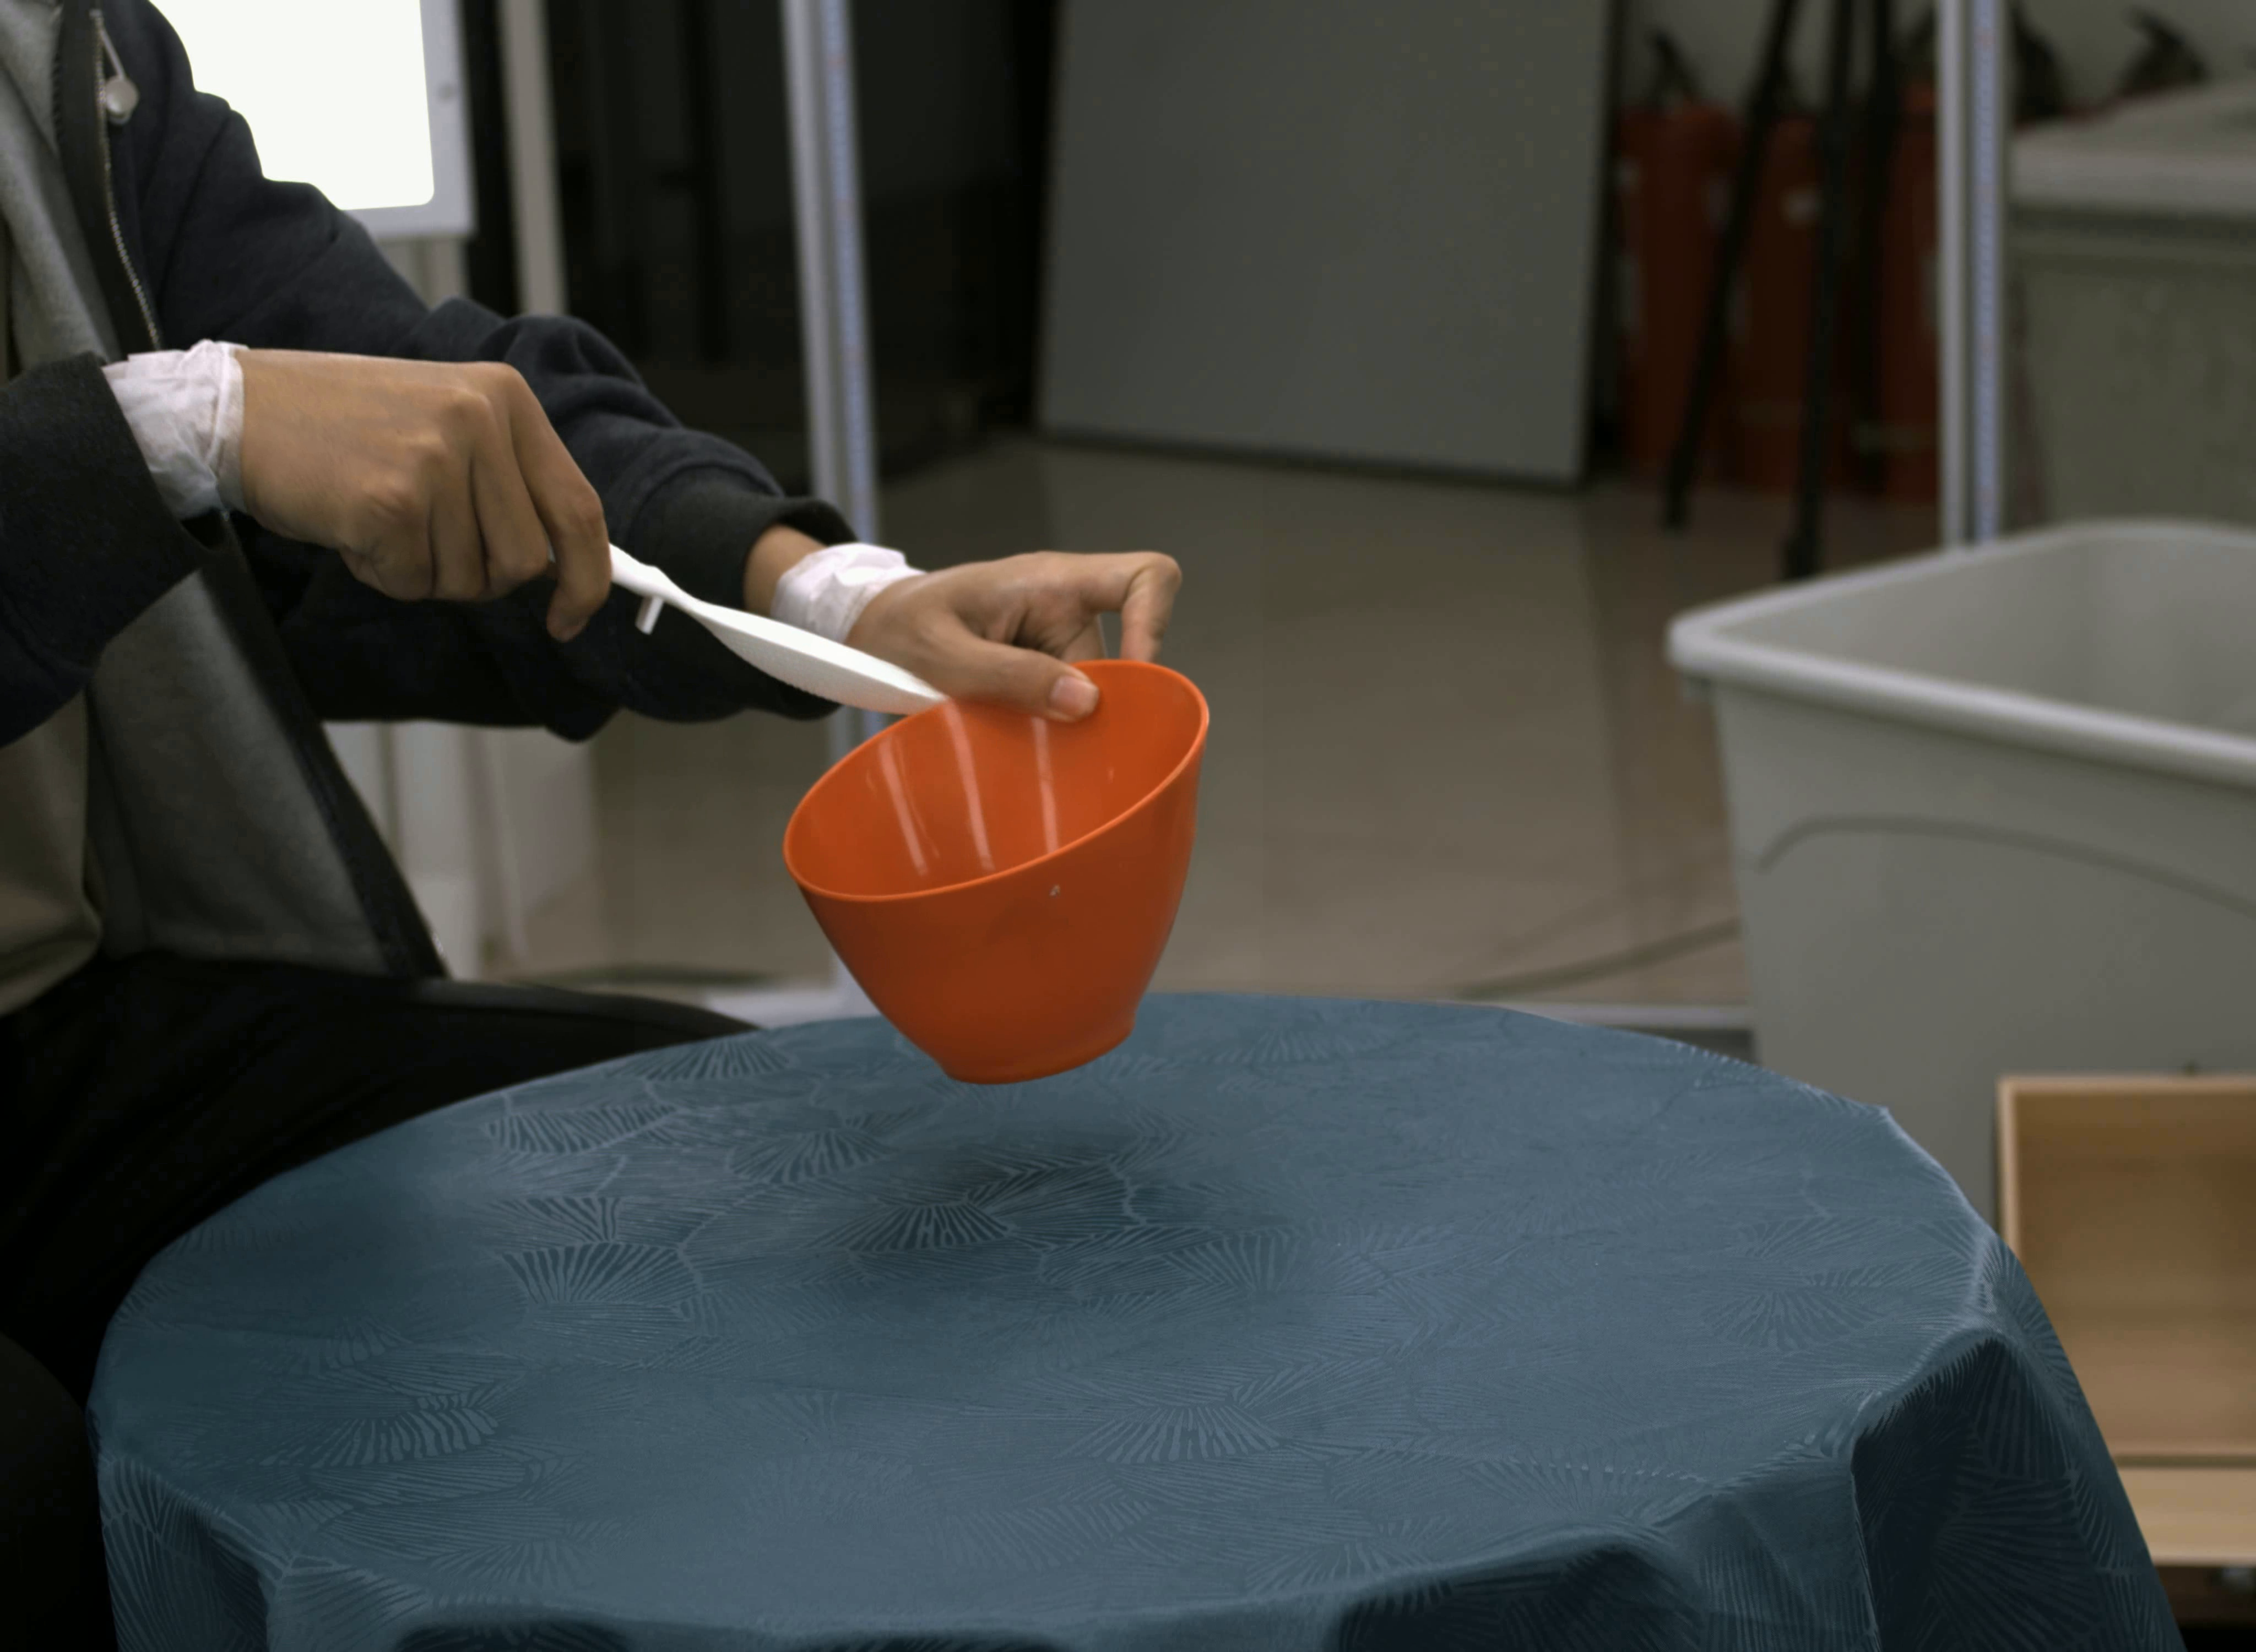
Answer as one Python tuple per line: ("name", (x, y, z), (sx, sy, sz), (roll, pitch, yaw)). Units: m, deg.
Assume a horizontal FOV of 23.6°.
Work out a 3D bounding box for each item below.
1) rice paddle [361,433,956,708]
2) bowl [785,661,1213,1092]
("rice paddle", (-0.145, -0.076, 1.727), (0.201, 0.030, 0.069), (20, 6, -19))
("bowl", (-0.034, 0.022, 1.770), (0.146, 0.105, 0.148), (-12, 18, 3))
